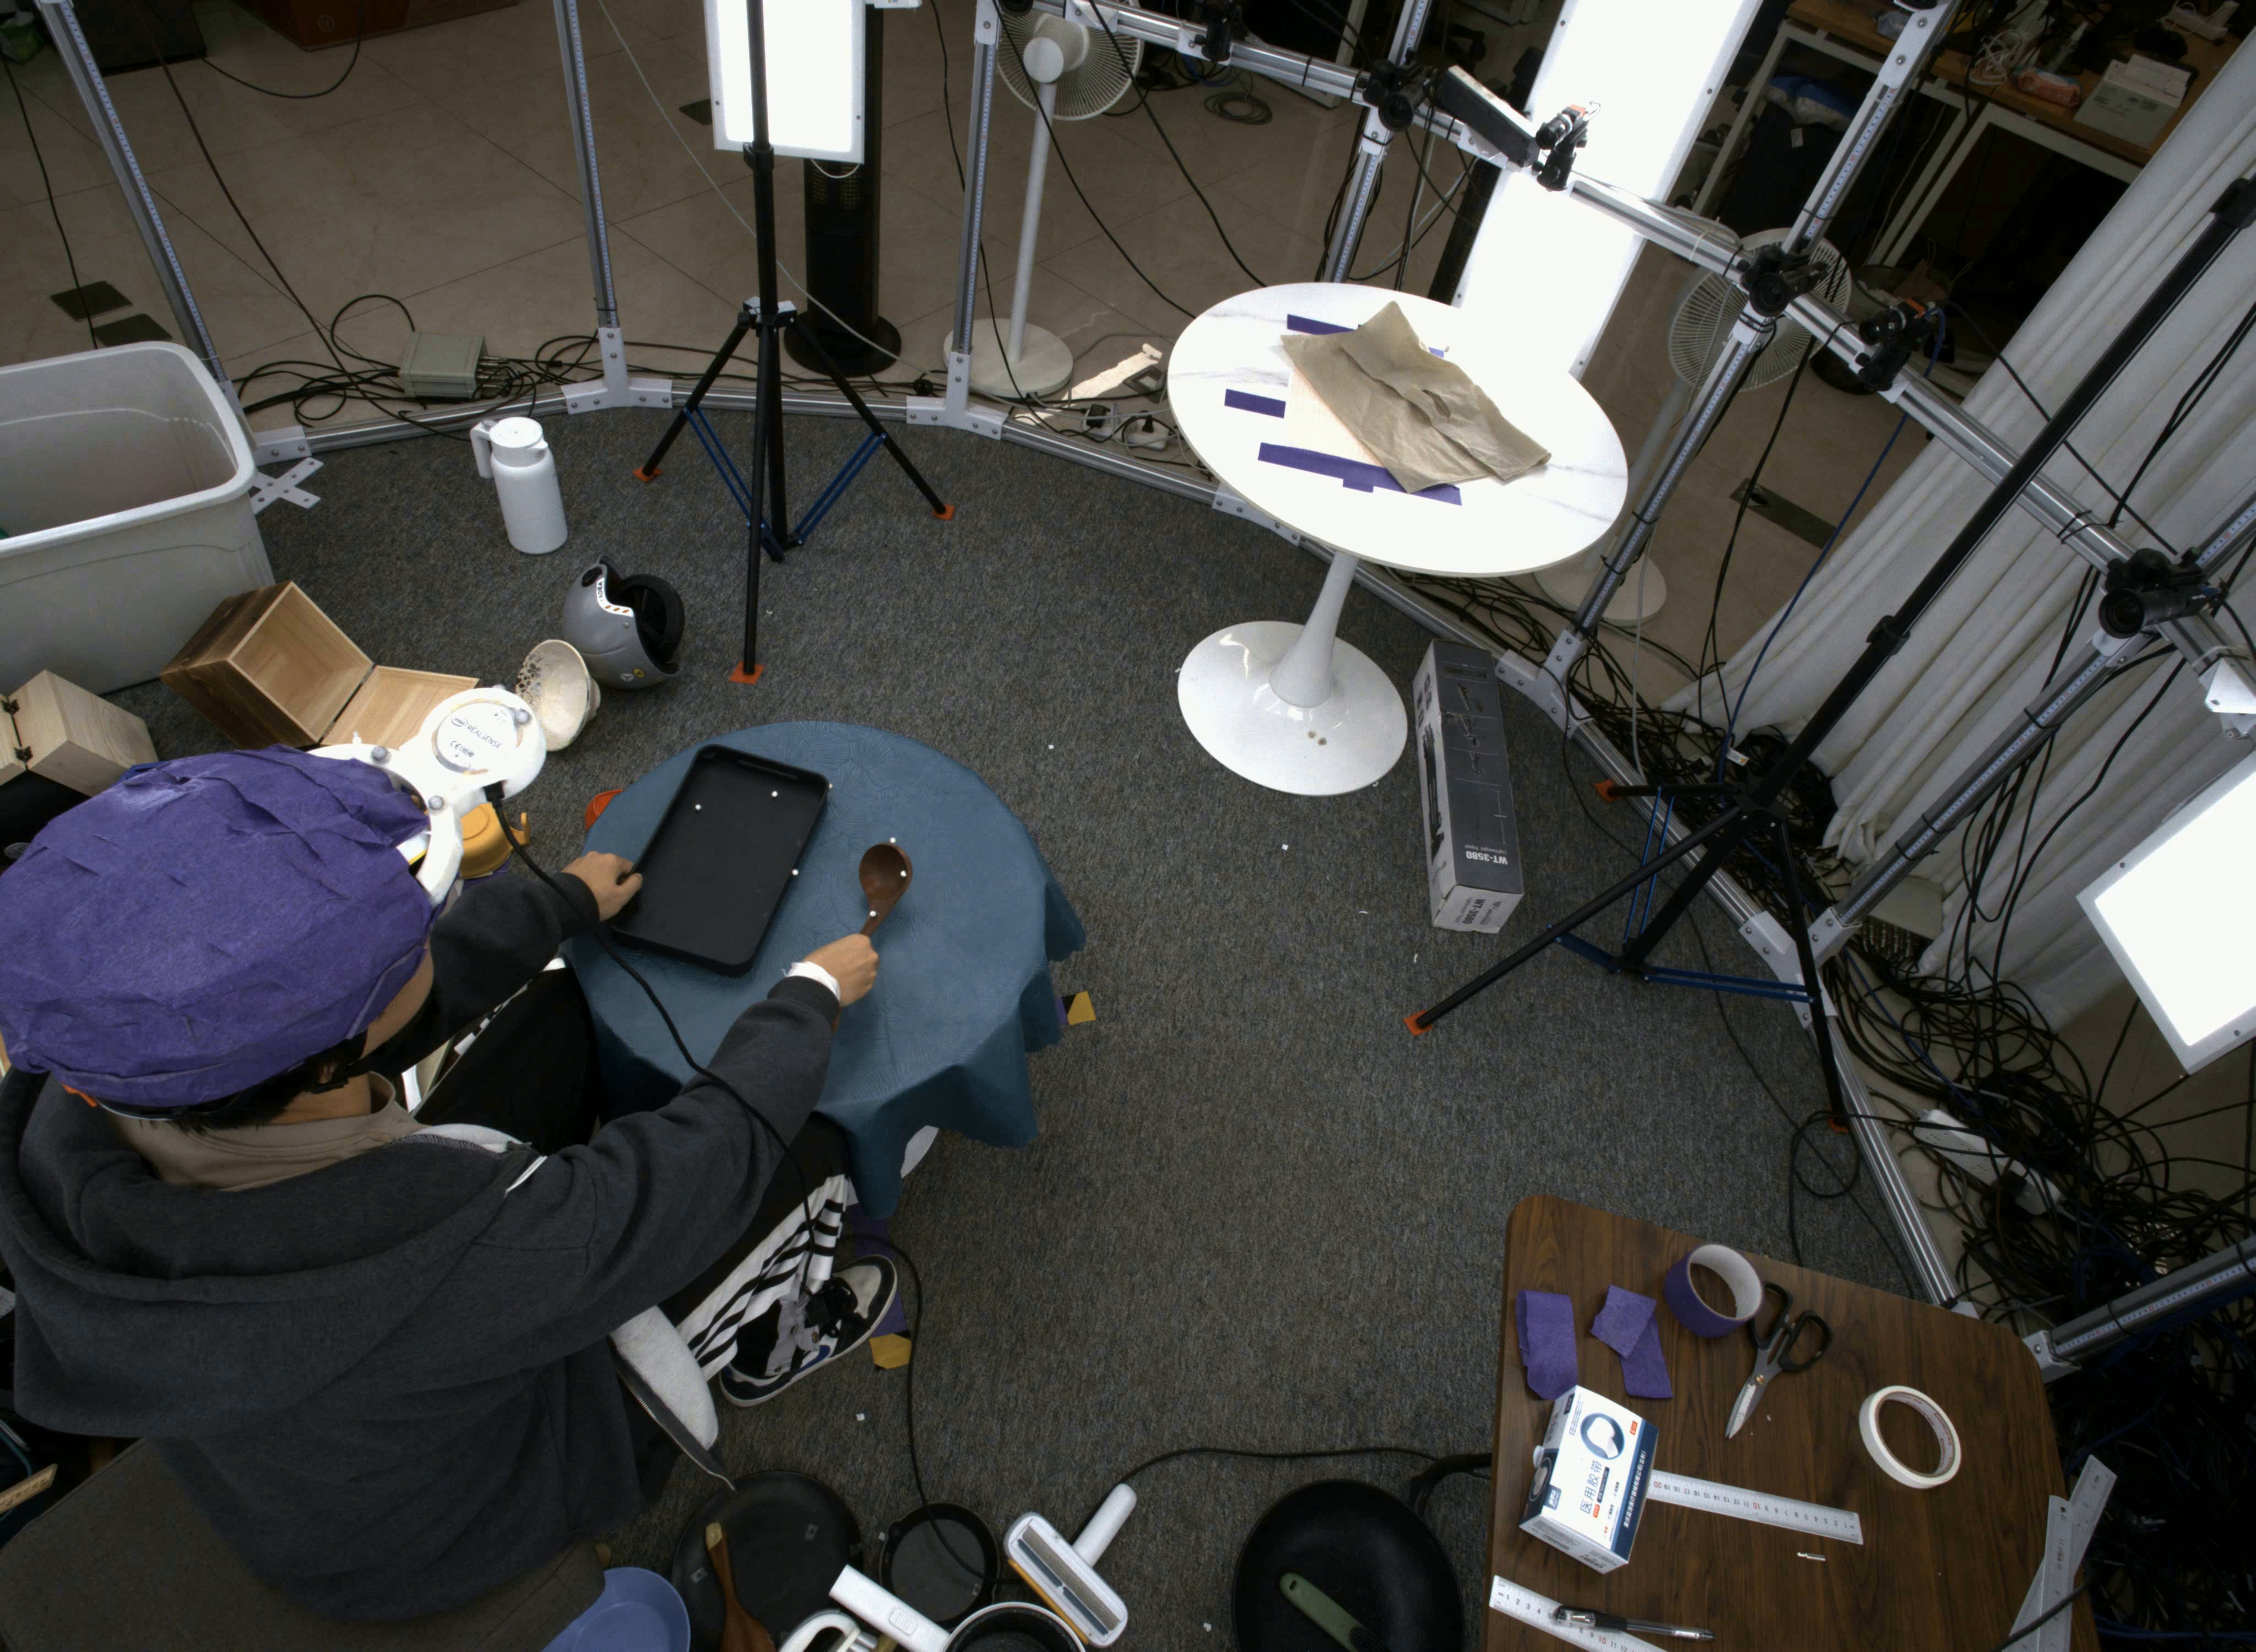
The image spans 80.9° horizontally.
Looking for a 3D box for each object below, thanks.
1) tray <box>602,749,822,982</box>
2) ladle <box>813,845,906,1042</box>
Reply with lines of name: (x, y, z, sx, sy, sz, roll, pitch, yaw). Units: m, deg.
tray: (-0.523, 0.042, 1.641, 0.183, 0.038, 0.313, 17, 50, -4)
ladle: (-0.340, 0.136, 1.587, 0.074, 0.068, 0.257, -1, 50, 25)
